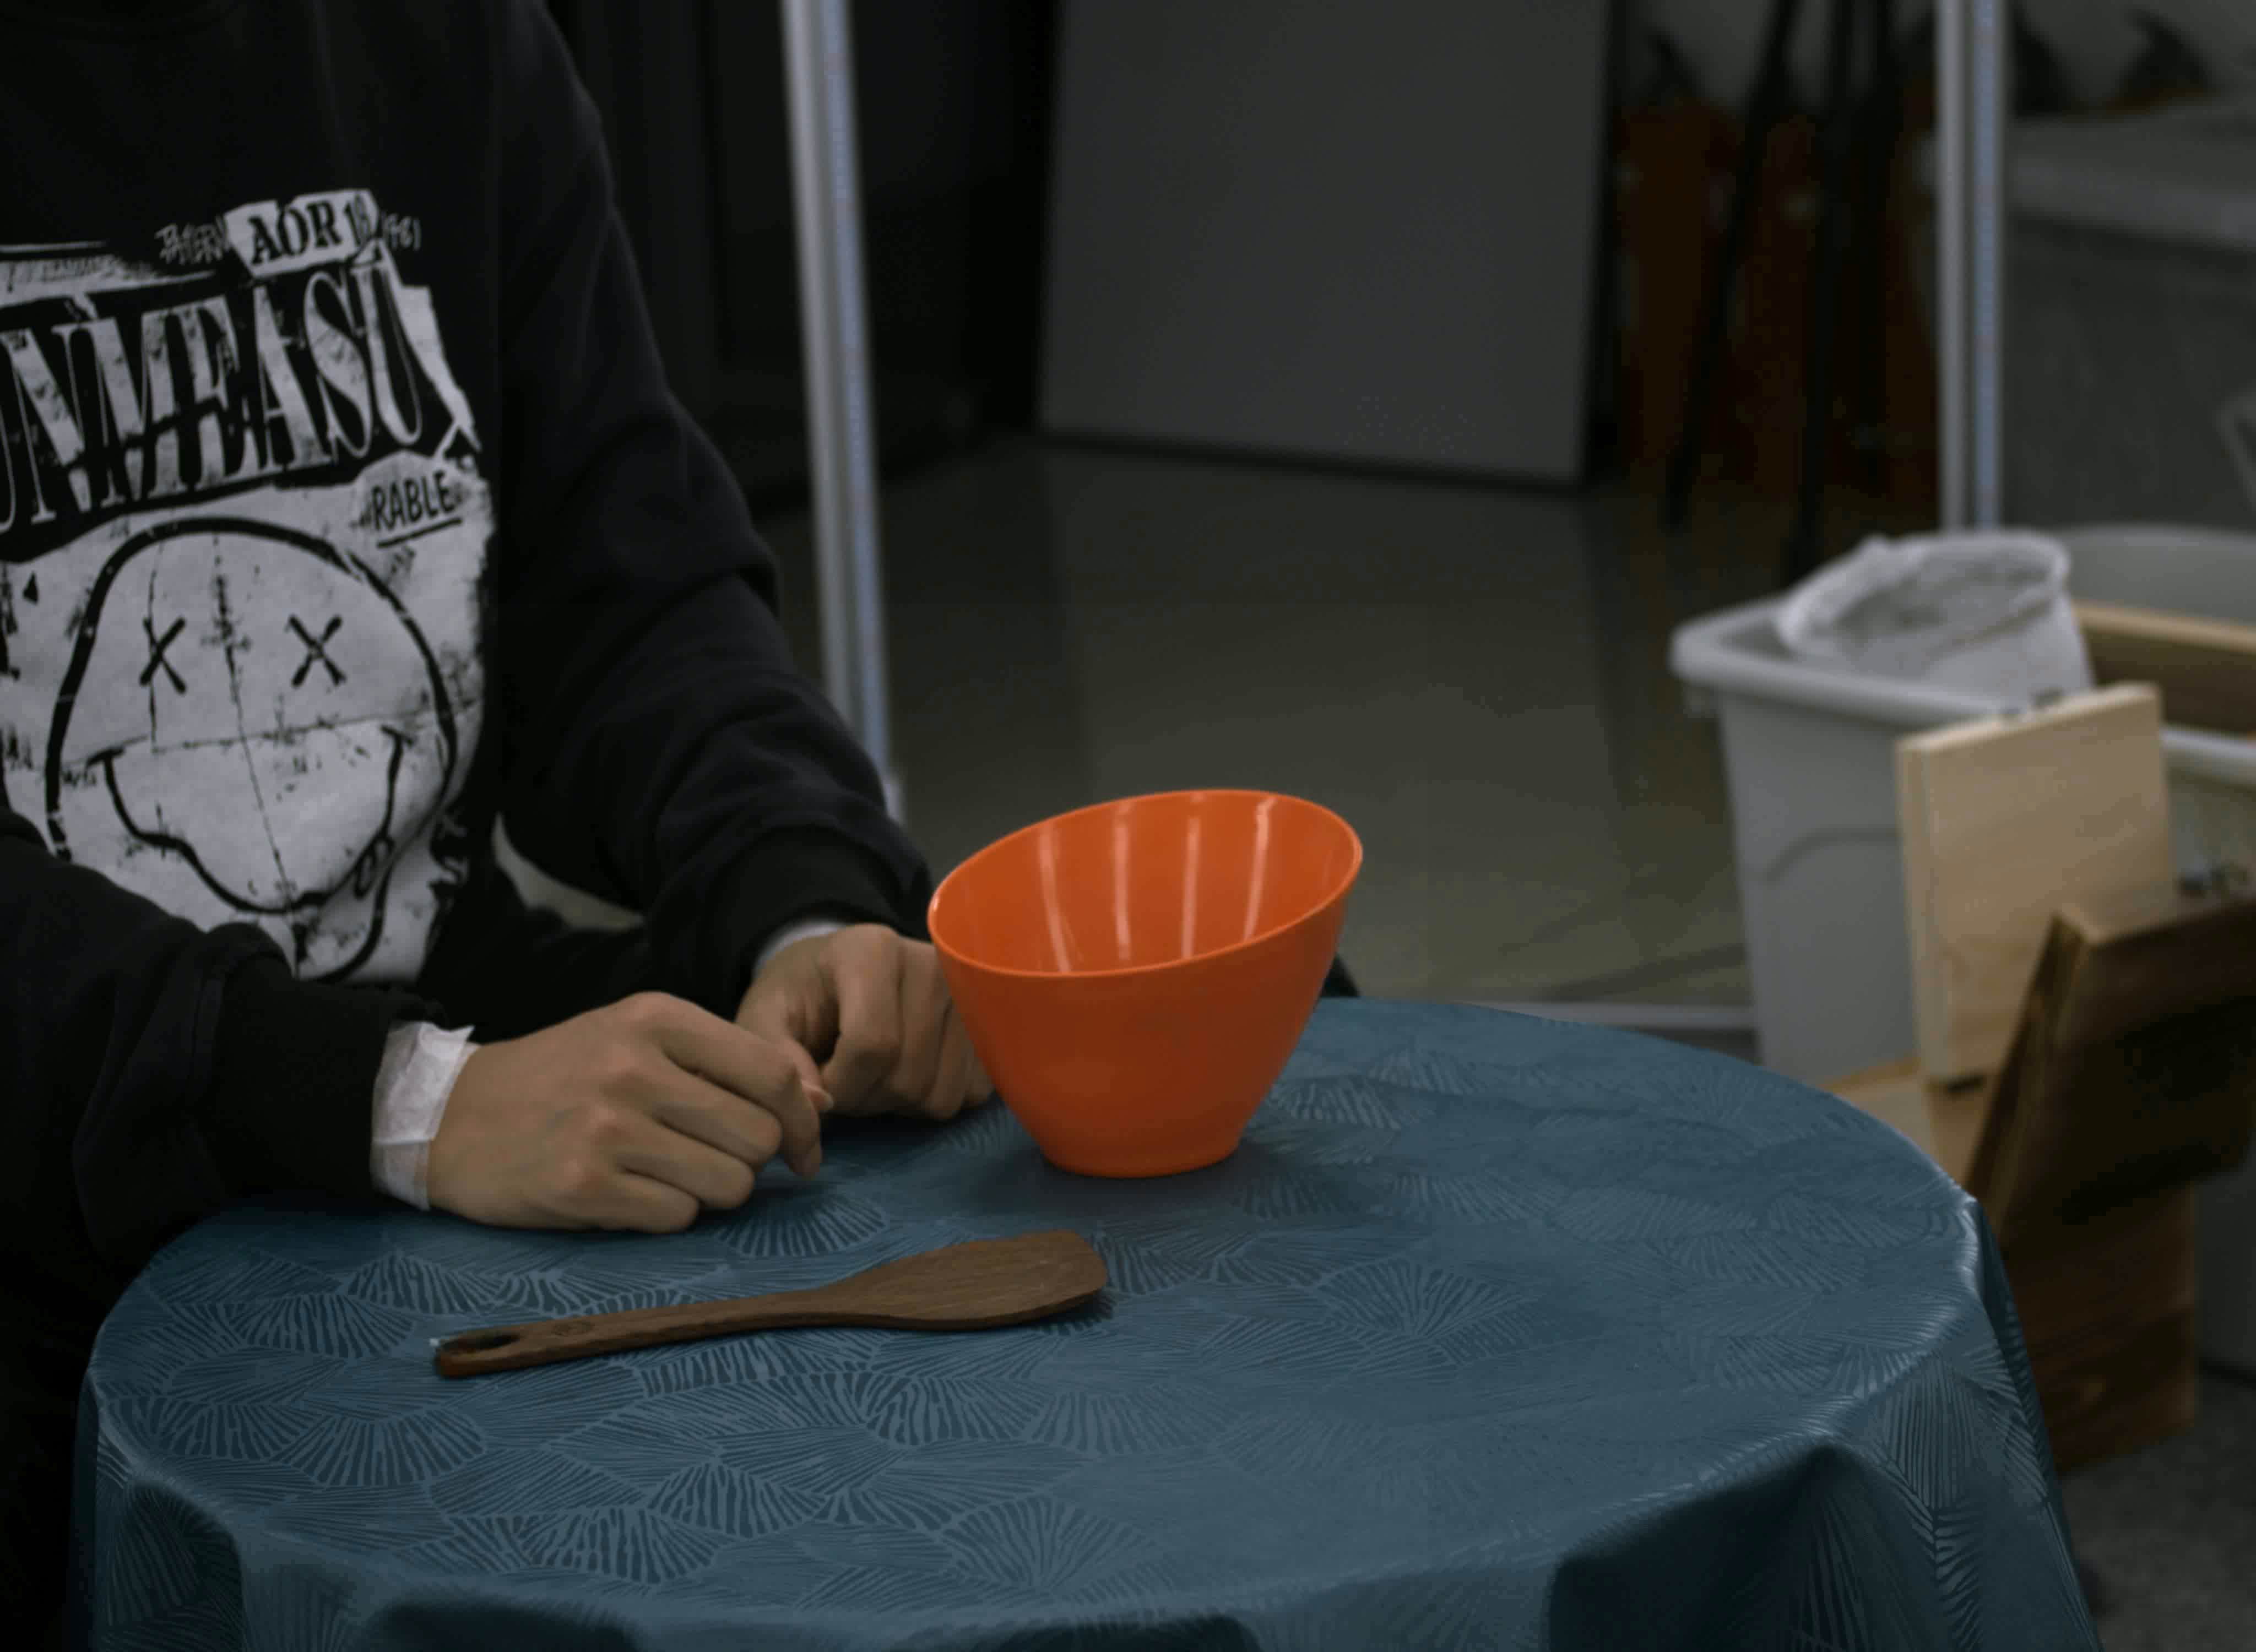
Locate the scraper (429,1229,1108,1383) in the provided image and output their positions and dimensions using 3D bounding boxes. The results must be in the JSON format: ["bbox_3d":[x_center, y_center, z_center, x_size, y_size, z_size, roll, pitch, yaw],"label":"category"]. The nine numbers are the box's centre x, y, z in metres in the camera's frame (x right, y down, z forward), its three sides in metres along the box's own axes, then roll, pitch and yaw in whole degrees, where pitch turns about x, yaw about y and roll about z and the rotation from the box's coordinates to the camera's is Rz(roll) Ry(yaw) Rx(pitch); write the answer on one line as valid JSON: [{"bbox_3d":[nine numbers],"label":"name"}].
[{"bbox_3d":[-0.110,0.151,1.665,0.207,0.011,0.076,-8,13,-10],"label":"scraper"}]

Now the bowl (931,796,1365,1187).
[{"bbox_3d":[0.009,0.059,1.810,0.146,0.106,0.148,-4,14,0],"label":"bowl"}]
